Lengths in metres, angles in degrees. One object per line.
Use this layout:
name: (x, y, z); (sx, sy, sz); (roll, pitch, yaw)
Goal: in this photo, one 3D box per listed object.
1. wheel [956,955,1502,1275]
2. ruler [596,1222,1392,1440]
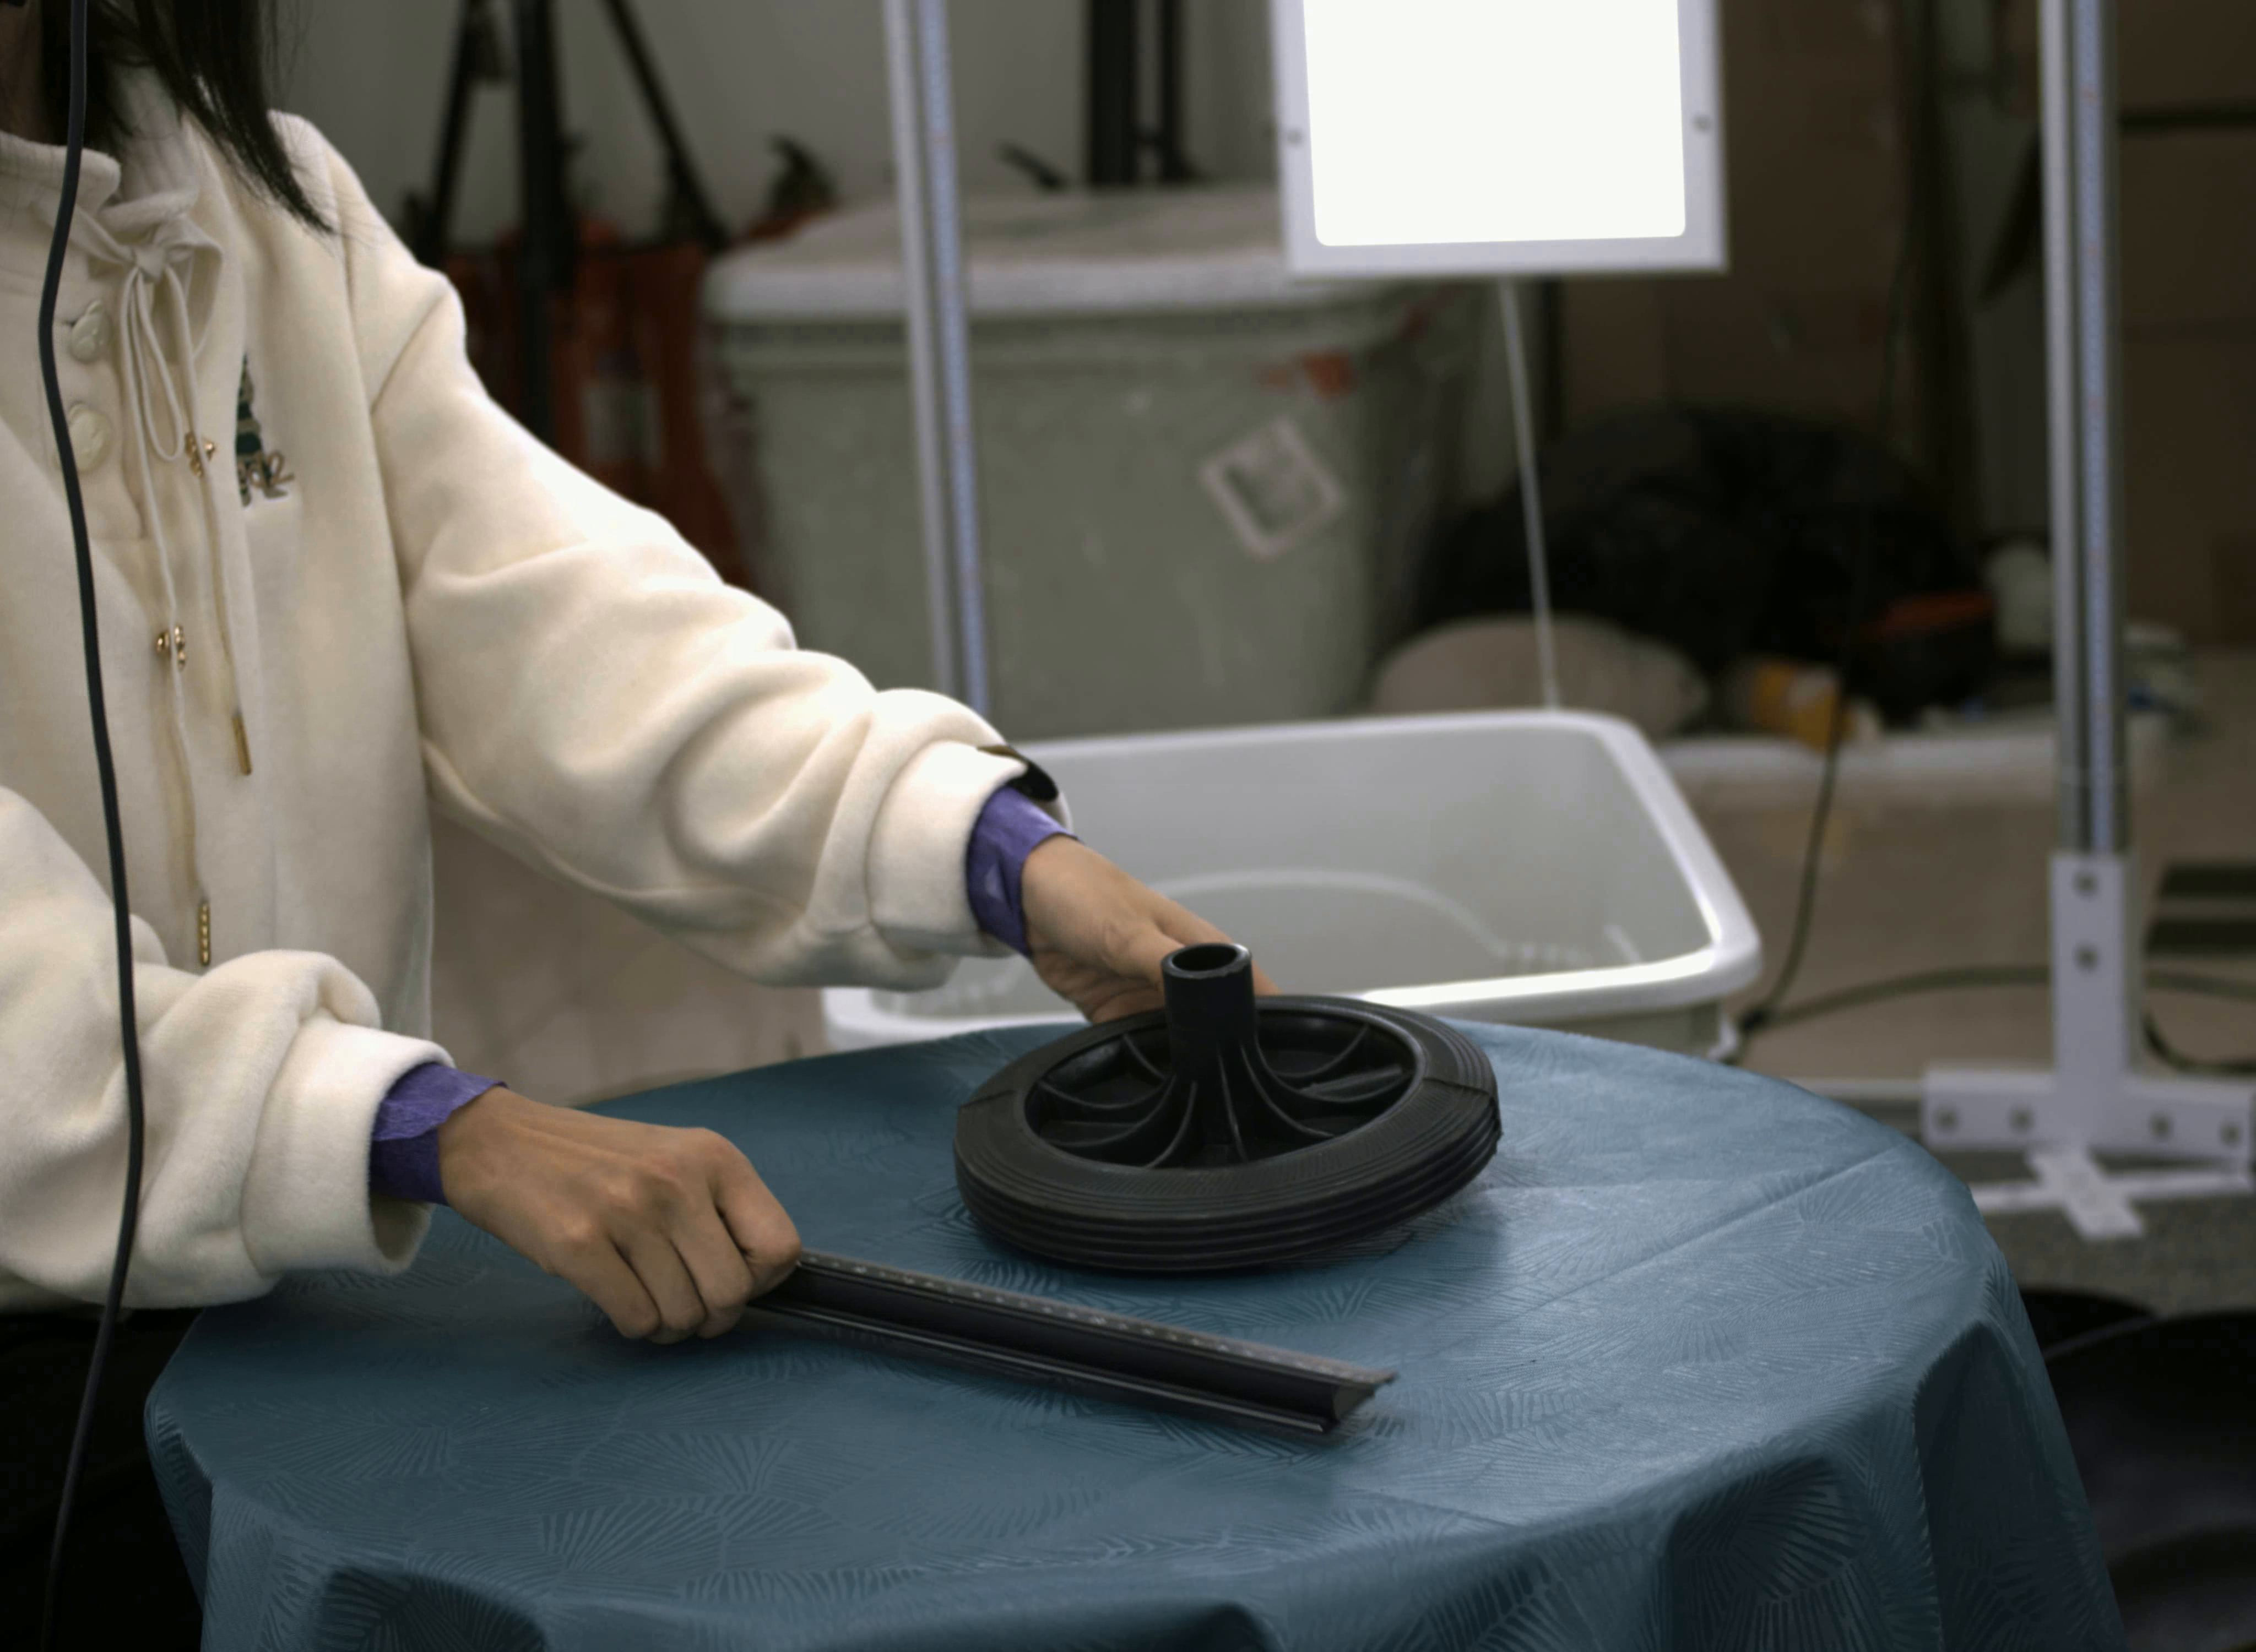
wheel: (0.032, 0.086, 1.872); (0.185, 0.079, 0.191); (-22, 24, -35)
ruler: (-0.049, 0.151, 1.742); (0.319, 0.017, 0.038); (8, 25, 41)
